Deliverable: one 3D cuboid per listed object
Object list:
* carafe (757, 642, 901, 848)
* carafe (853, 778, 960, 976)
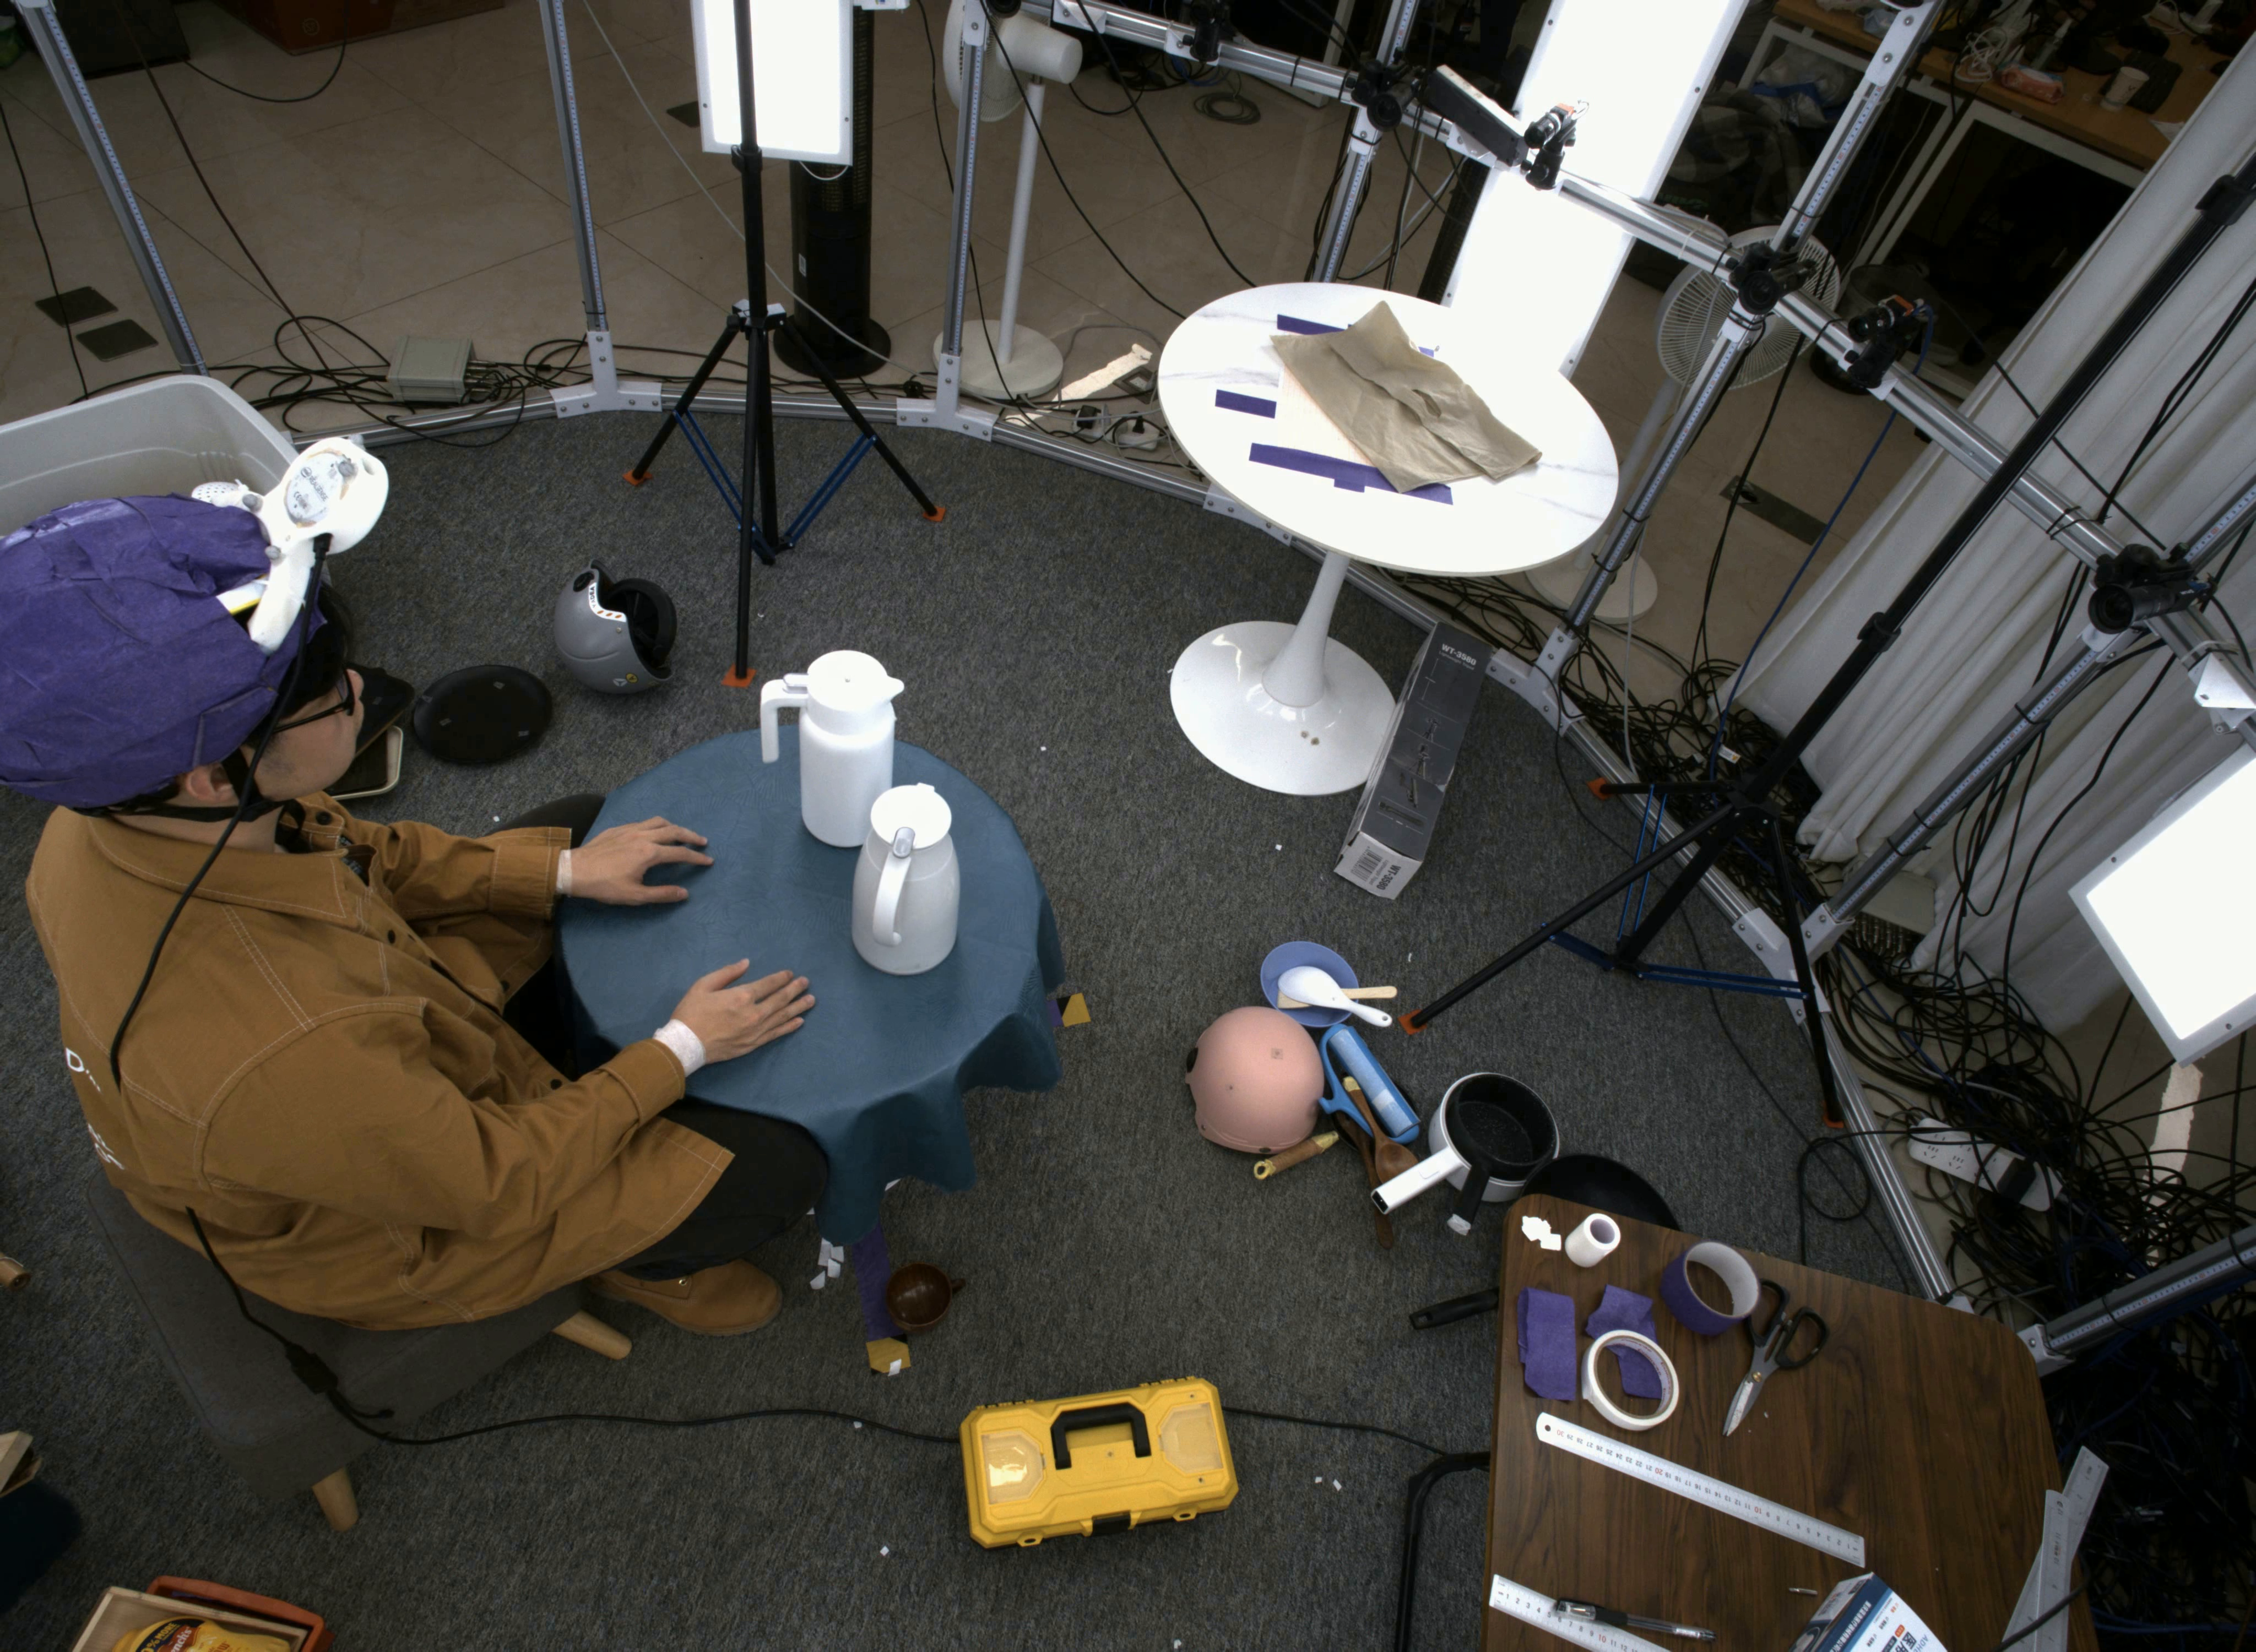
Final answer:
[{"bbox_3d":[-0.375,-0.097,1.634,0.173,0.274,0.121,-2,55,-14],"label":"carafe"},{"bbox_3d":[-0.268,0.071,1.548,0.131,0.254,0.165,13,52,-1],"label":"carafe"}]
